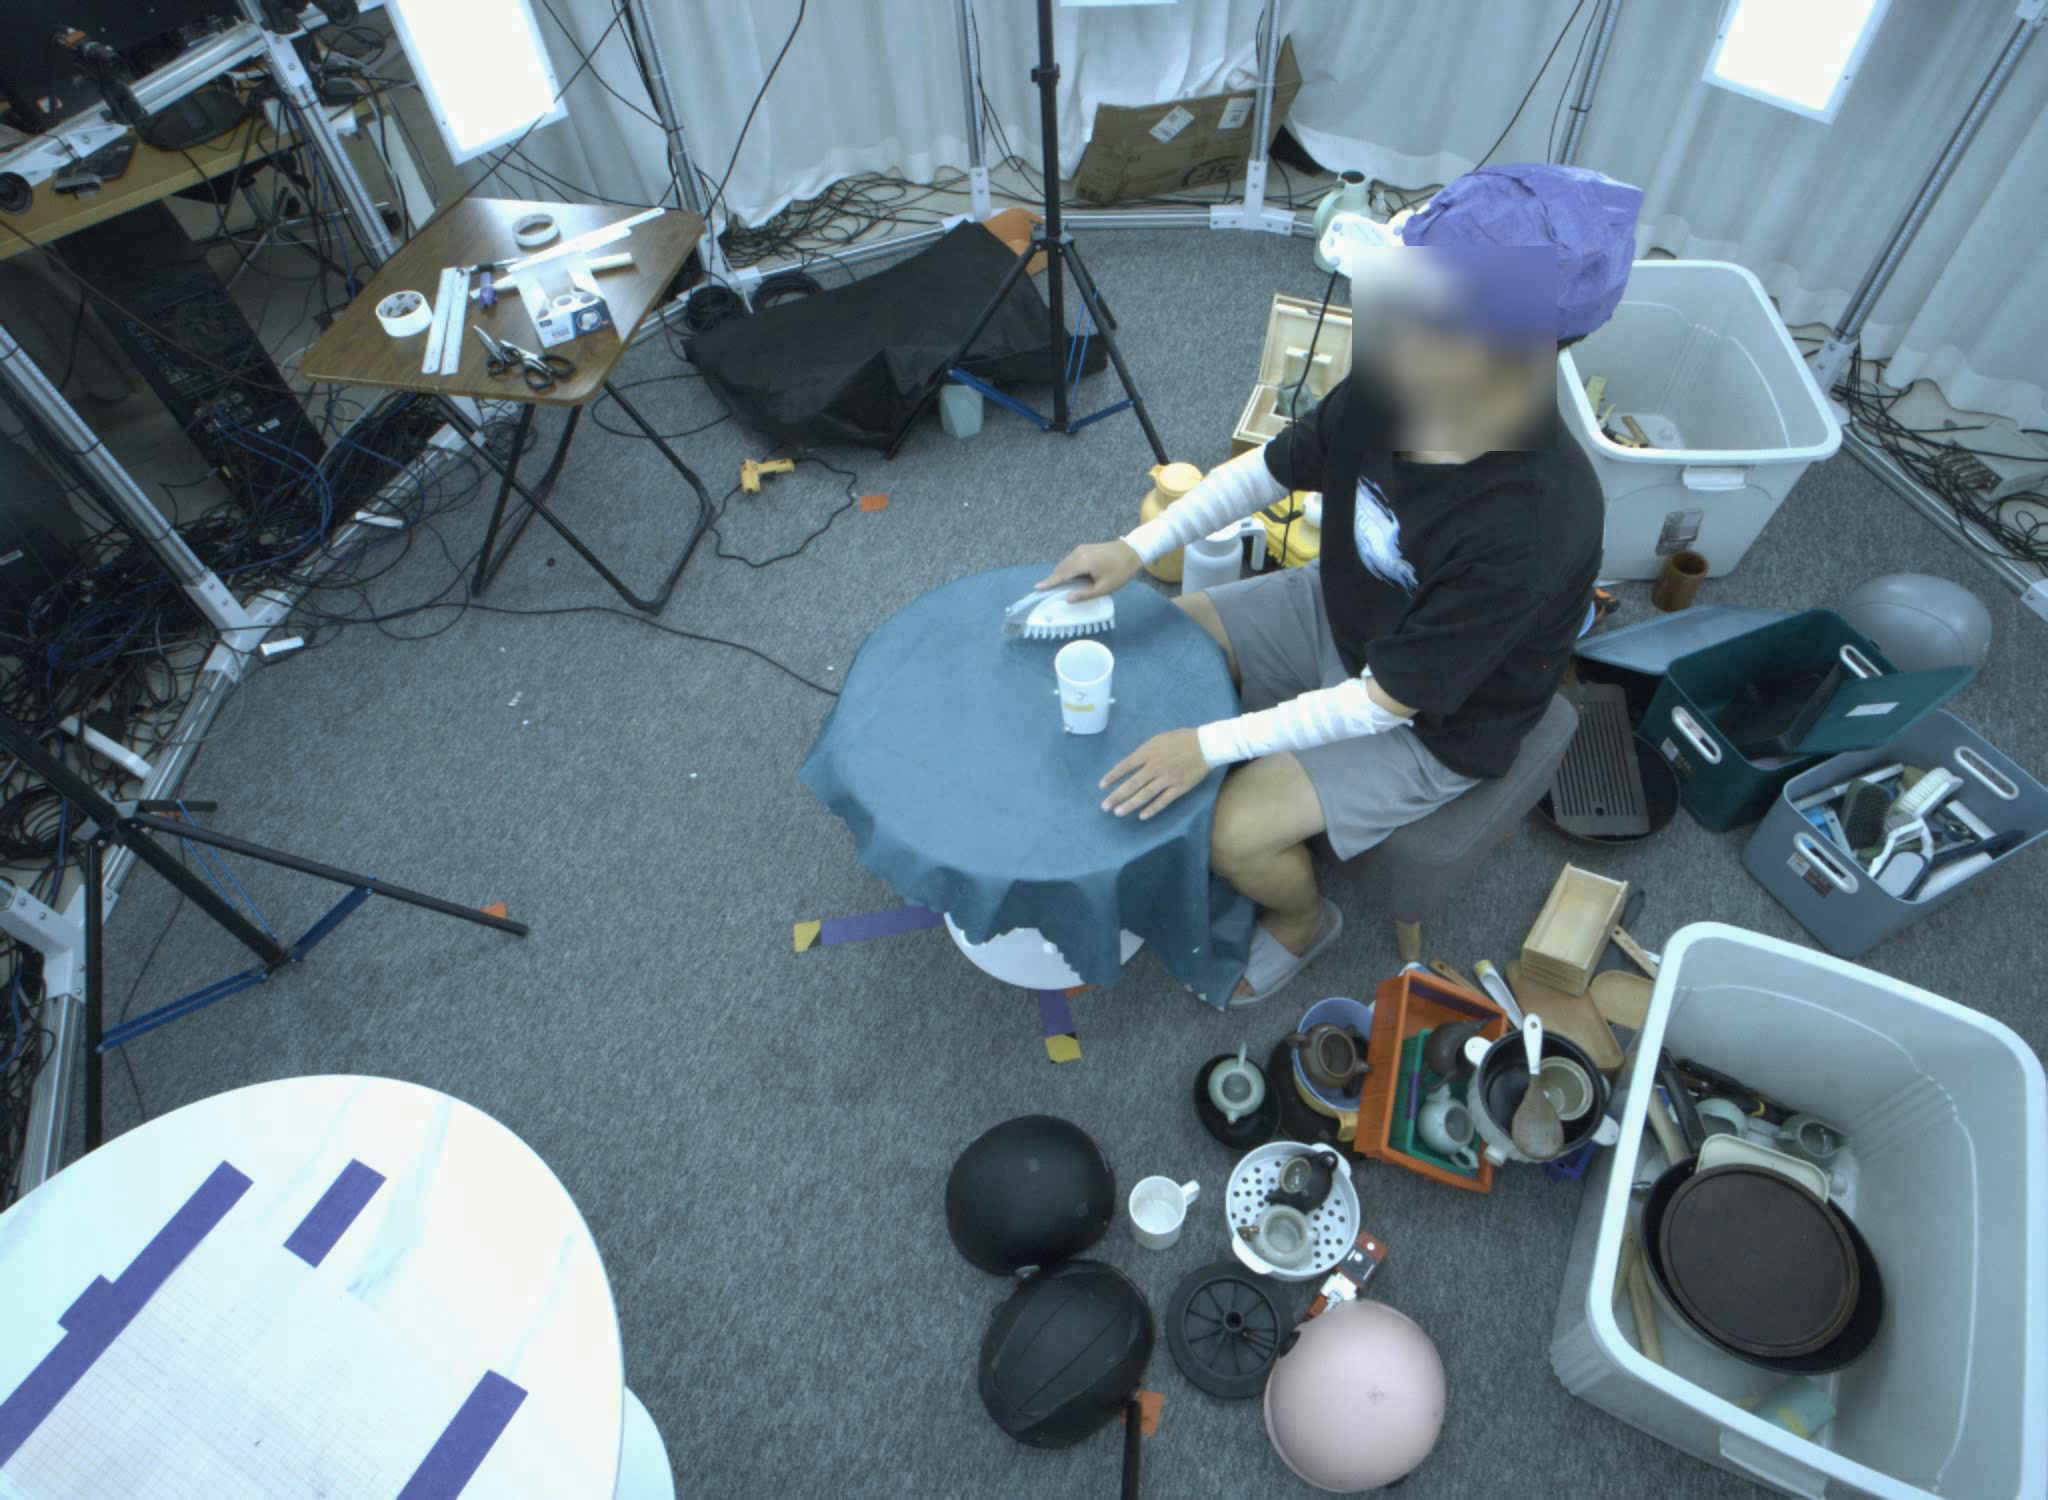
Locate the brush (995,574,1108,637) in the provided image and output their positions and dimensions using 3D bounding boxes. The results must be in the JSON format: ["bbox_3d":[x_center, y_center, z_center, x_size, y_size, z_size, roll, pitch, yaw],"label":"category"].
[{"bbox_3d":[0.039,-0.220,1.860,0.176,0.095,0.060,-10,50,-6],"label":"brush"}]

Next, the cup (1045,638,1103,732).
[{"bbox_3d":[0.075,-0.088,1.761,0.081,0.127,0.081,-2,54,4],"label":"cup"}]
